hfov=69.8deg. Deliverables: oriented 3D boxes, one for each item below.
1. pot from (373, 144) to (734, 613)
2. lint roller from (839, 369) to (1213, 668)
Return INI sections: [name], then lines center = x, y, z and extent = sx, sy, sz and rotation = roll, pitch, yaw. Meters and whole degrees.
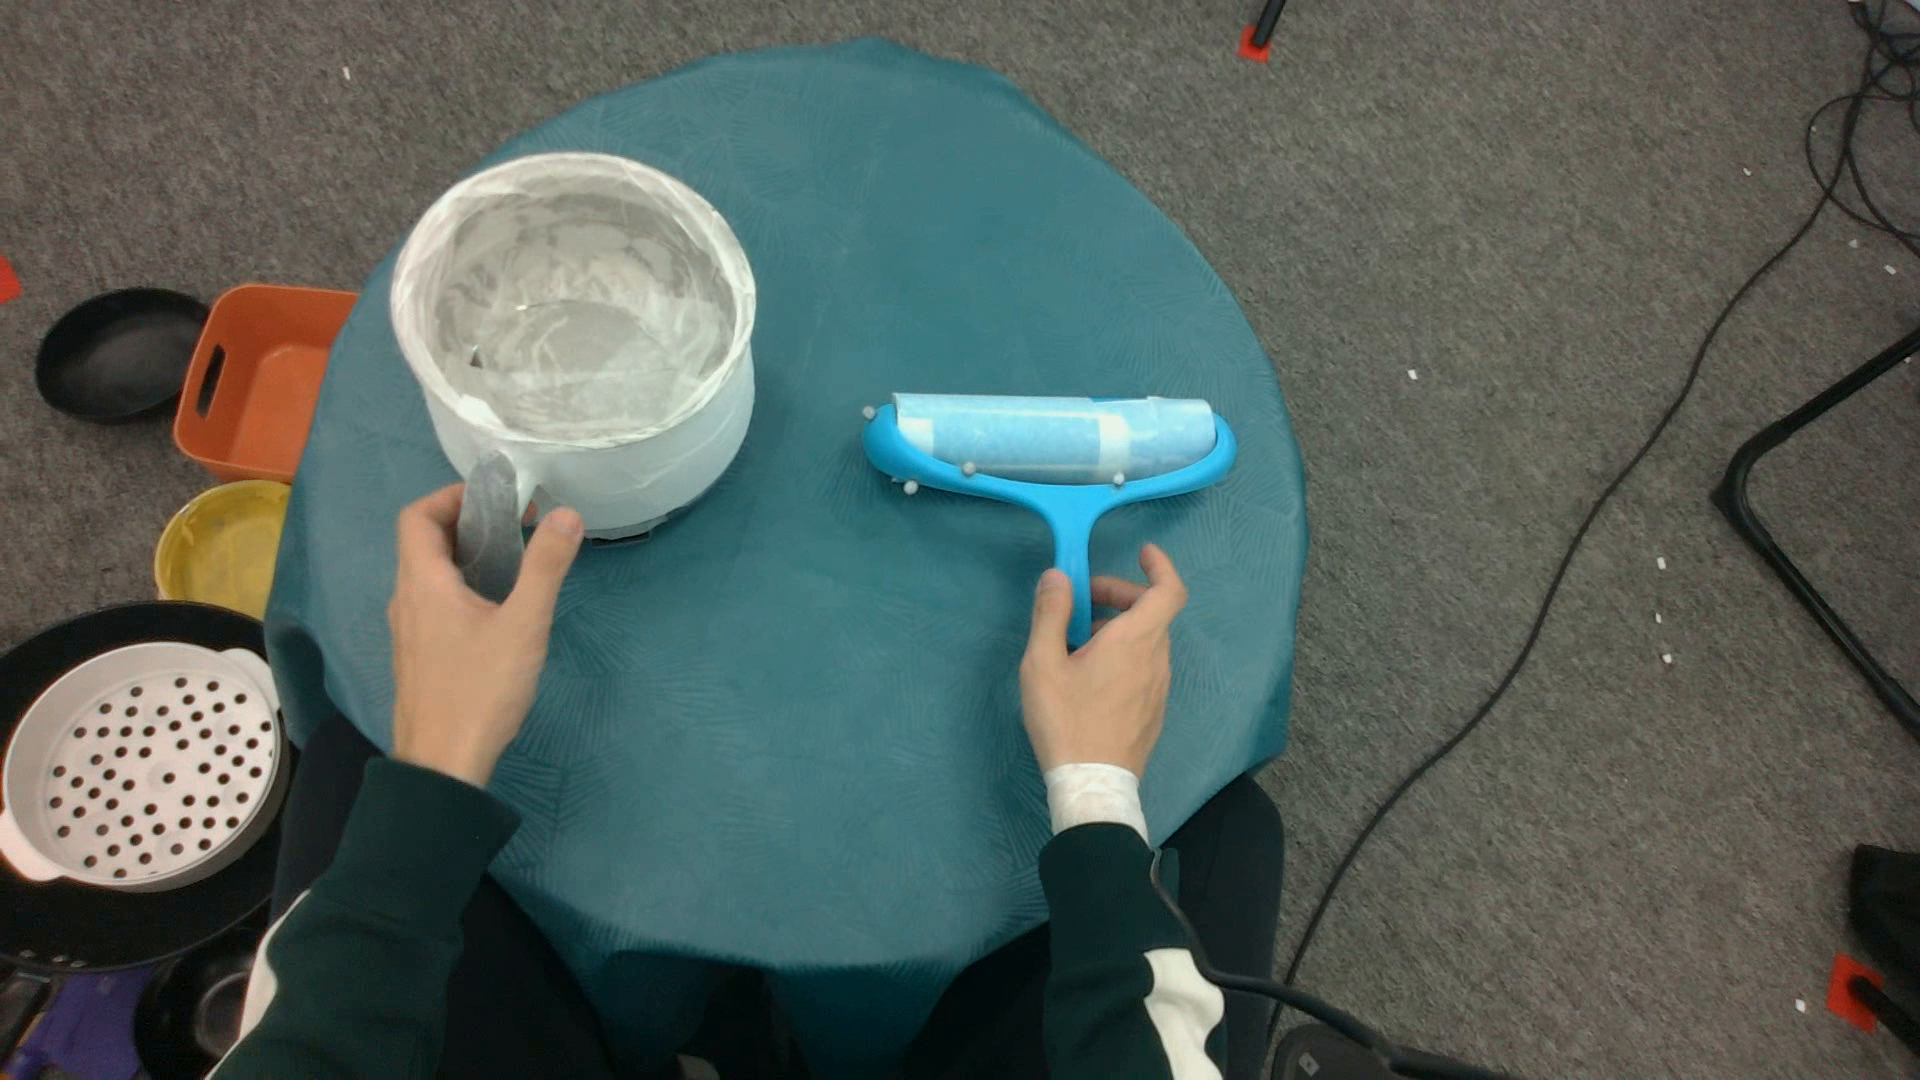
[pot]
center = -0.220, -0.080, 0.742
extent = 0.179, 0.136, 0.234
rotation = 16, 64, -2
[lint roller]
center = 0.051, -0.020, 0.810
extent = 0.229, 0.067, 0.181
rotation = -4, 67, -14
